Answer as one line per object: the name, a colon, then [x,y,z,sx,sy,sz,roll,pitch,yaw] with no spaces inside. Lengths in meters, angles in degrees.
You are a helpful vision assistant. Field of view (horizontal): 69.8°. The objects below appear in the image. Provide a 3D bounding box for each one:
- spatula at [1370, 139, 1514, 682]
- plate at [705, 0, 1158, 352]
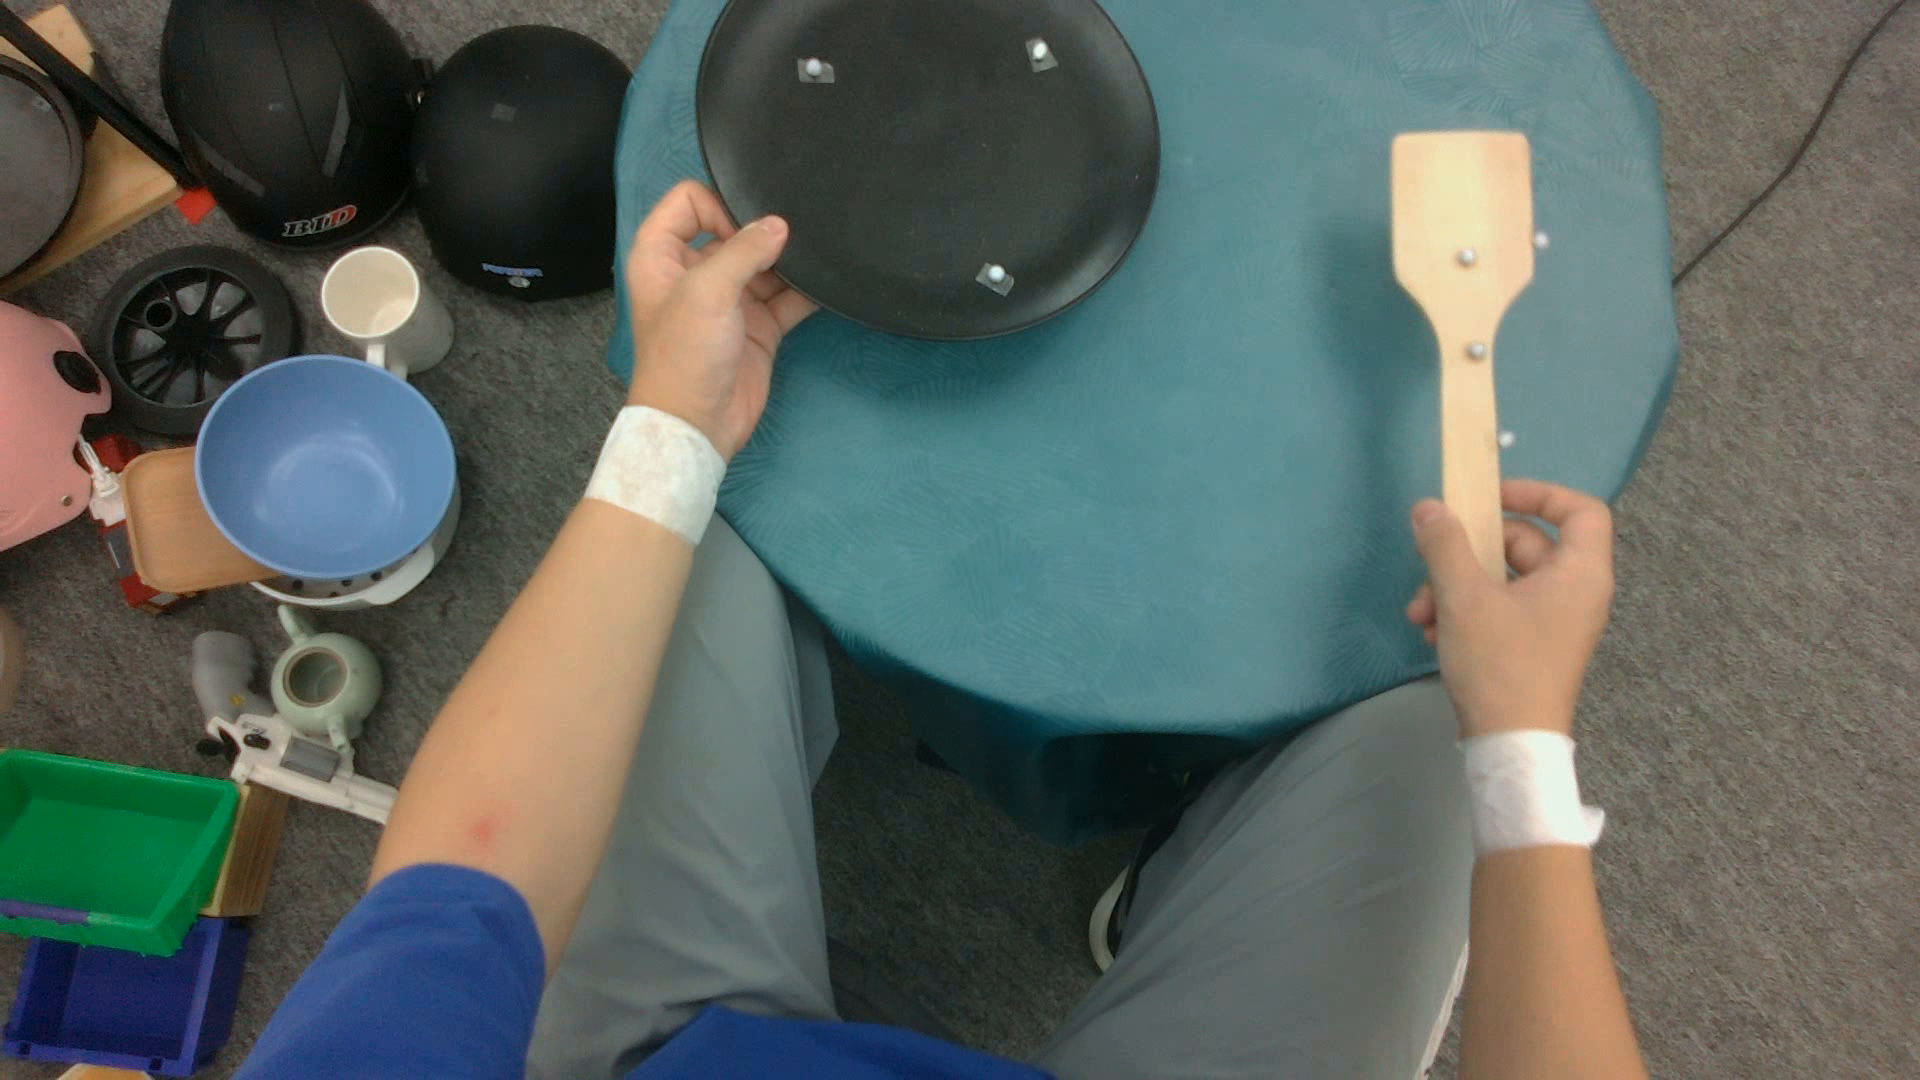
spatula: [0.254,-0.073,0.705,0.072,0.010,0.293,-1,75,8]
plate: [-0.014,-0.212,0.739,0.244,0.023,0.245,3,74,-9]
